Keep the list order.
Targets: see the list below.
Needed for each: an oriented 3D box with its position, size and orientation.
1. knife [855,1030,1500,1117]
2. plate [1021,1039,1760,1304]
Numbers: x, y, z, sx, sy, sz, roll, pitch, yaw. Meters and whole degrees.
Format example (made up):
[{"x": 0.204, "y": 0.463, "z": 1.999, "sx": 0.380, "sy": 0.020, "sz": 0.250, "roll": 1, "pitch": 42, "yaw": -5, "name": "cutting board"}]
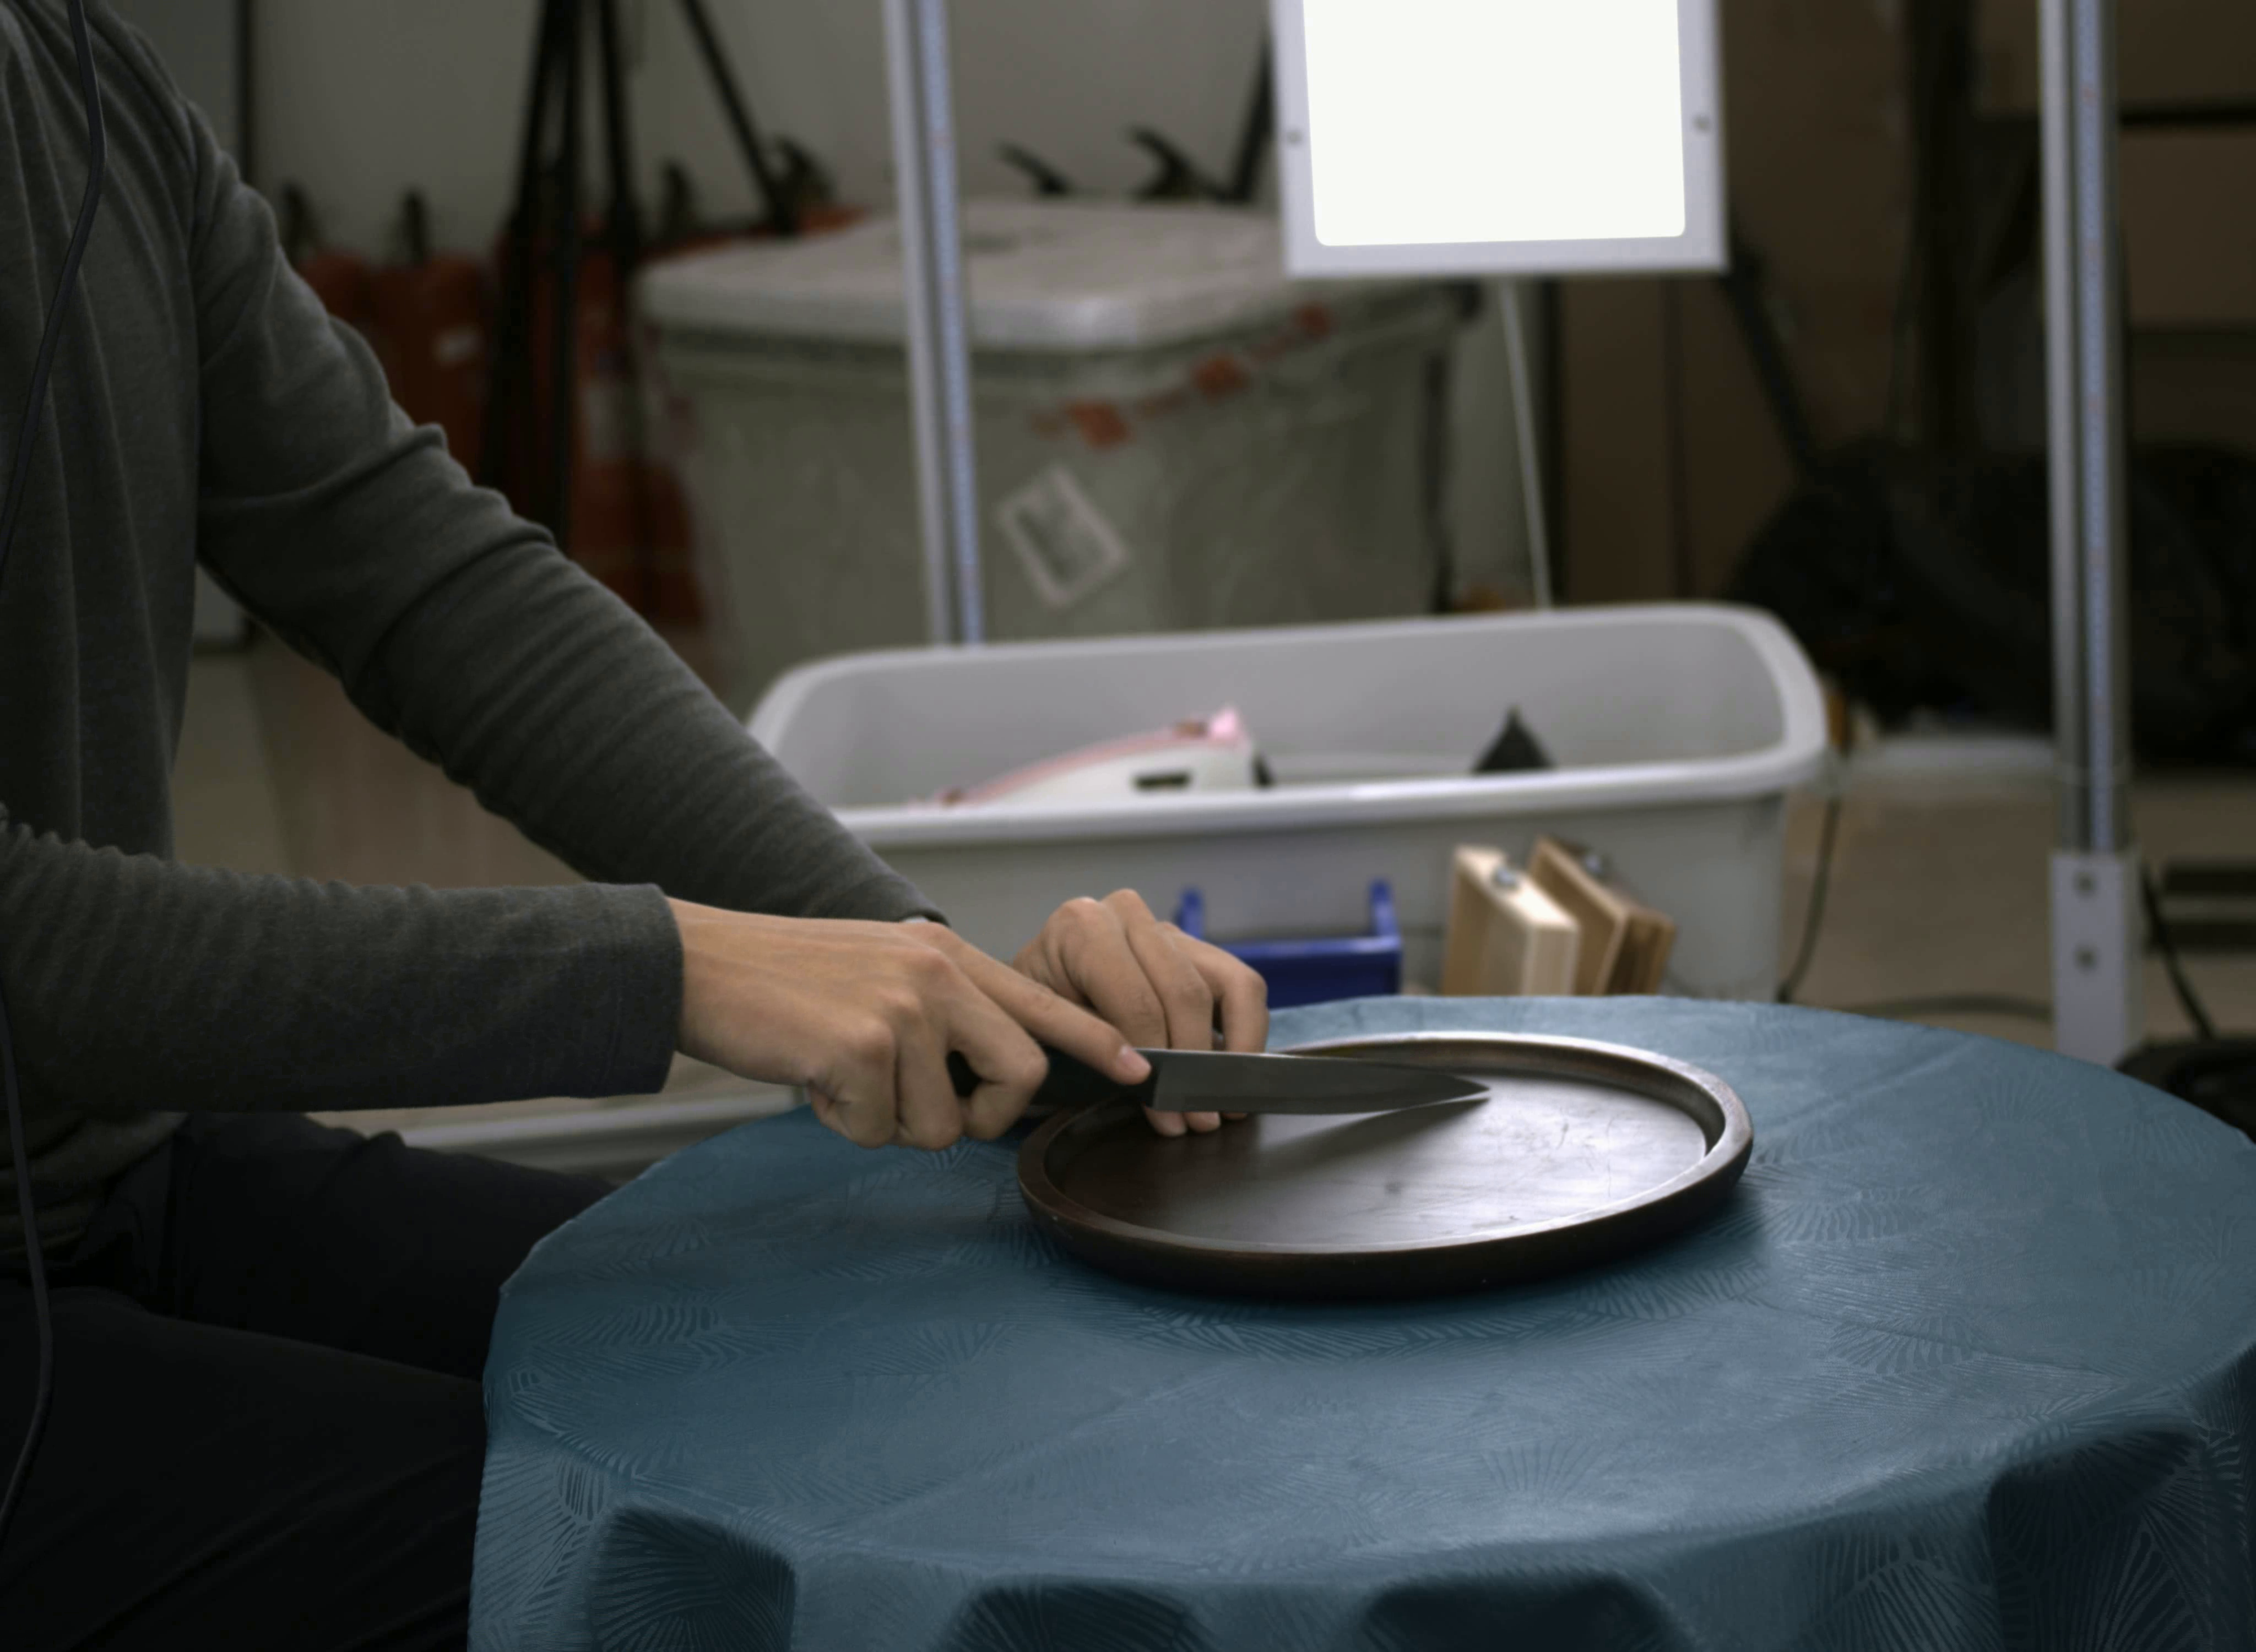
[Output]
[{"x": 0.020, "y": 0.085, "z": 1.902, "sx": 0.234, "sy": 0.024, "sz": 0.016, "roll": 4, "pitch": 2, "yaw": -17, "name": "knife"}, {"x": 0.089, "y": 0.115, "z": 1.871, "sx": 0.254, "sy": 0.029, "sz": 0.254, "roll": -4, "pitch": 13, "yaw": 0, "name": "plate"}]
